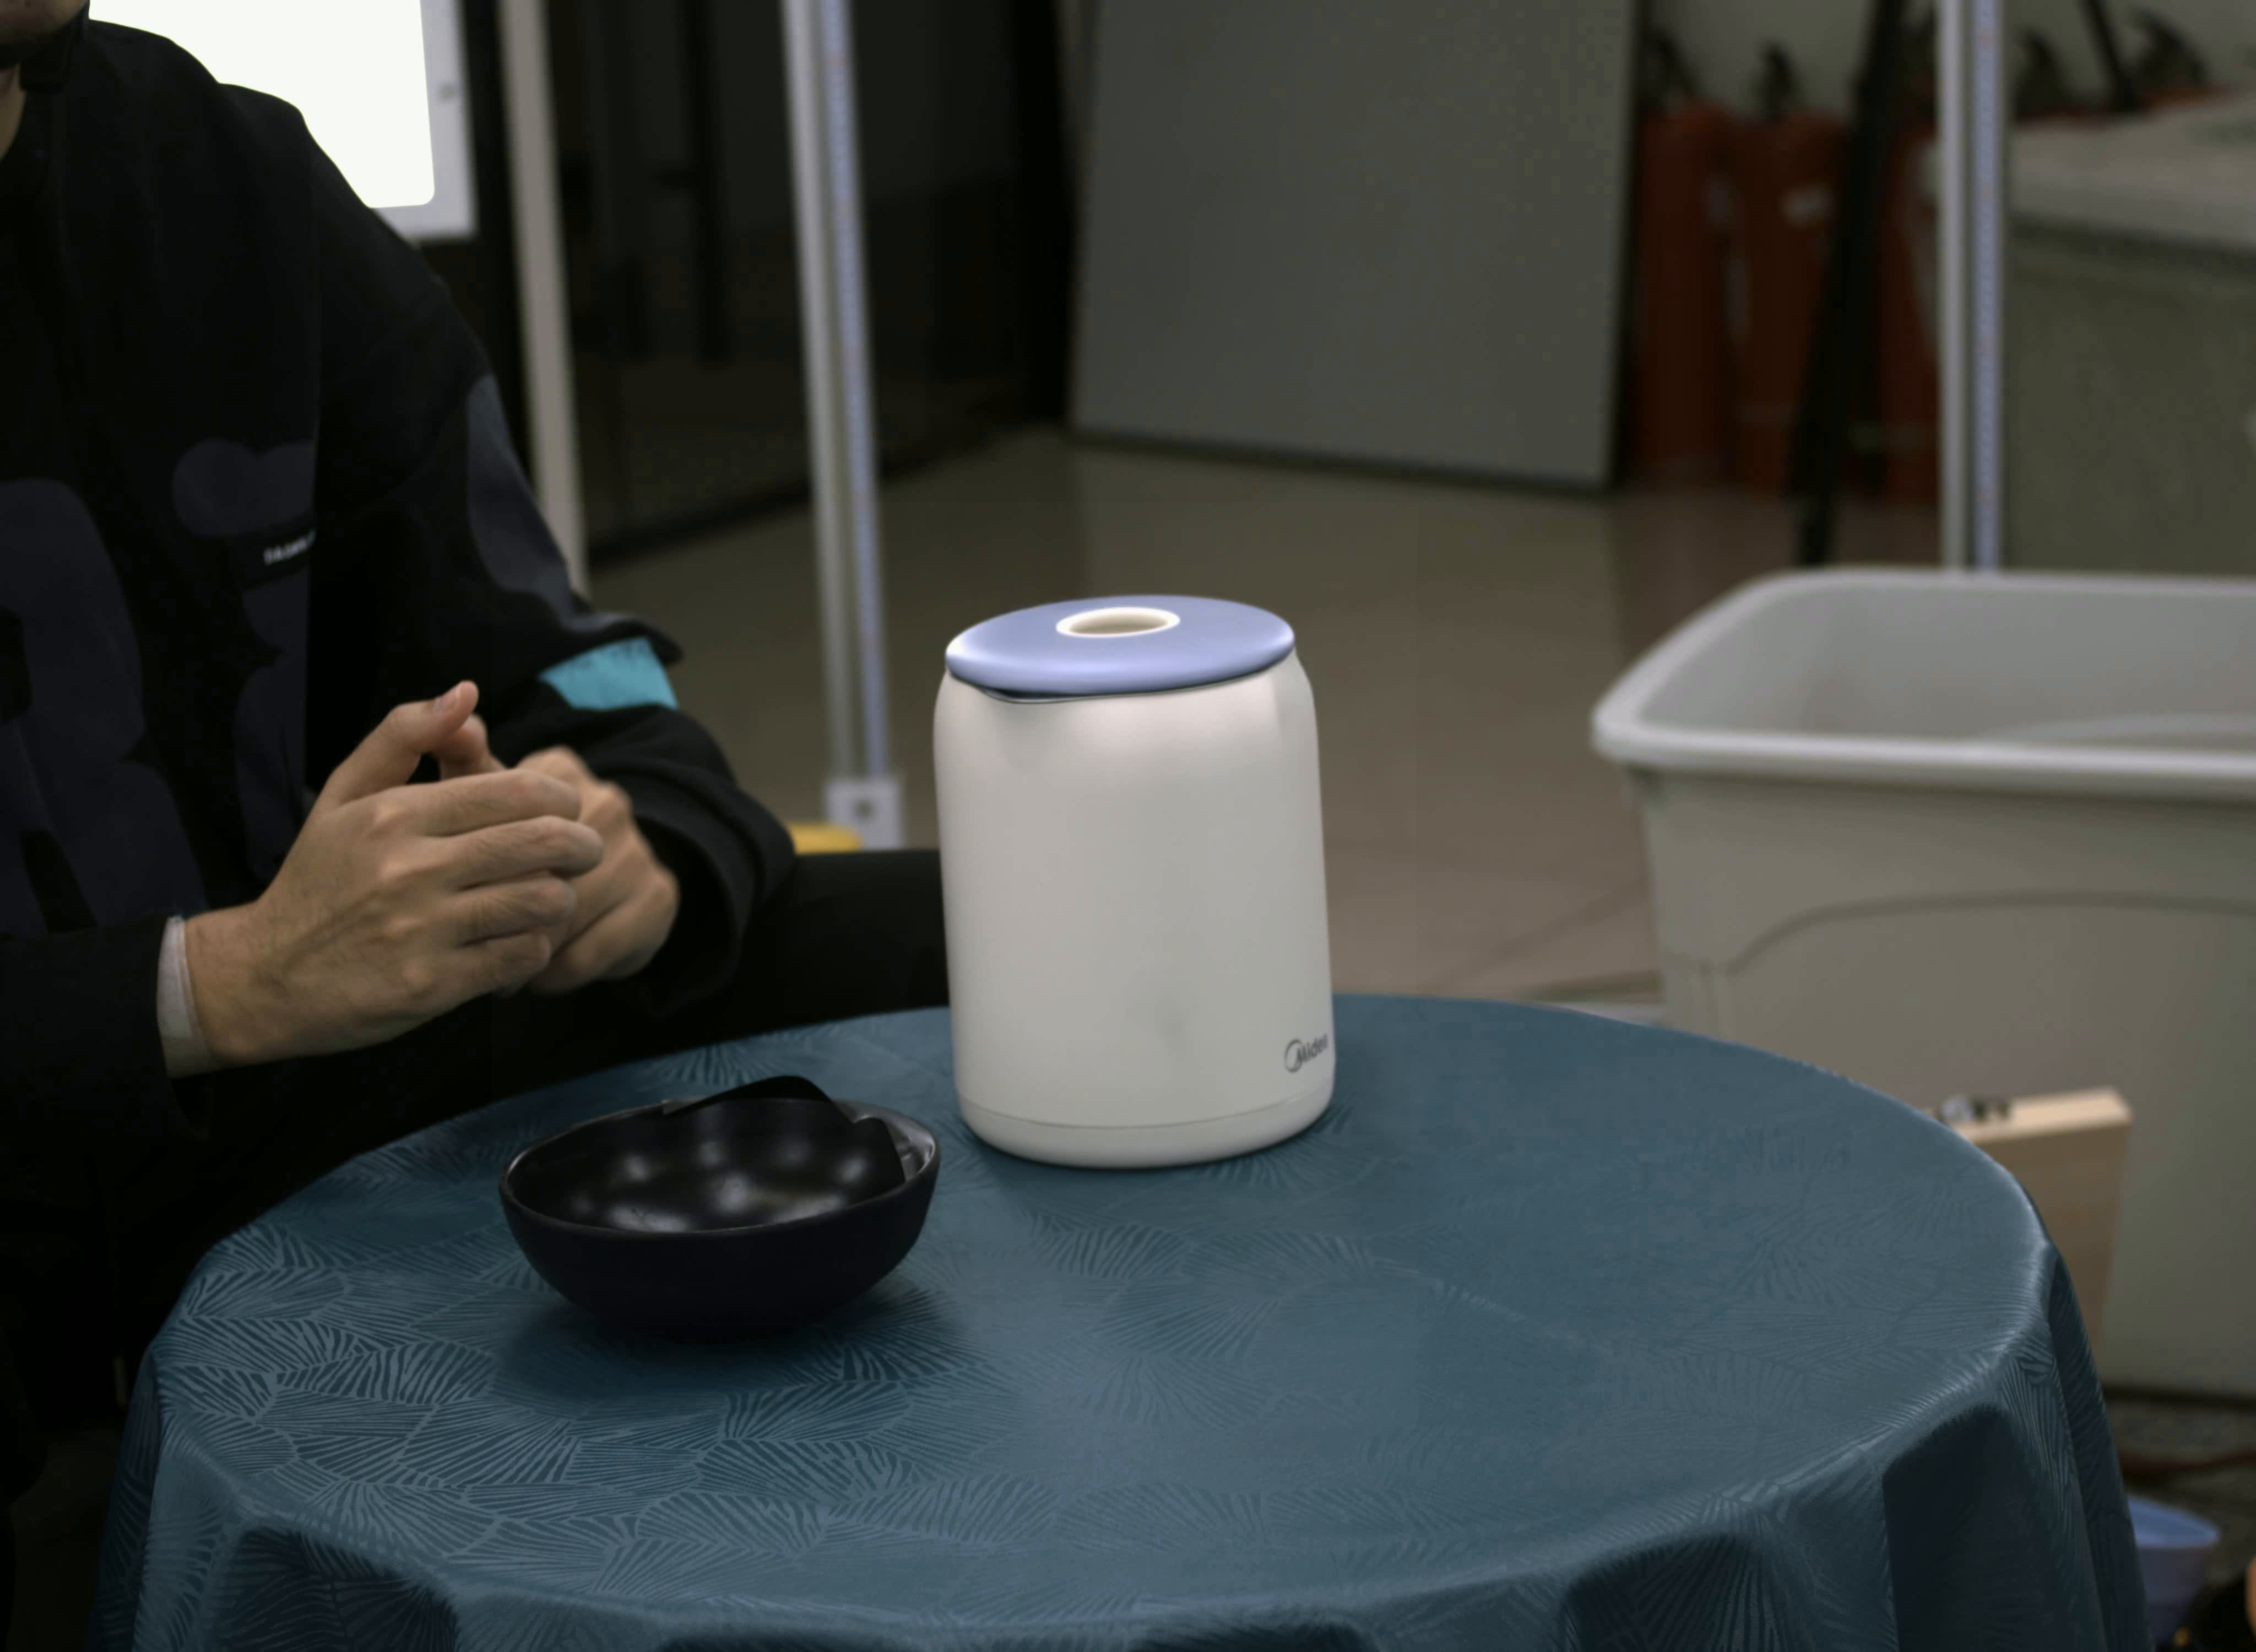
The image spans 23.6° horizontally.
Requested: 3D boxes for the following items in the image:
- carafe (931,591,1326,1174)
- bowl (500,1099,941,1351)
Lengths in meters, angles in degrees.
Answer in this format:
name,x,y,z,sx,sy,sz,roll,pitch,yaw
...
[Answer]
name,x,y,z,sx,sy,sz,roll,pitch,yaw
carafe,0.012,0.013,1.848,0.133,0.184,0.188,5,14,29
bowl,-0.124,0.128,1.679,0.138,0.050,0.140,-6,13,1
